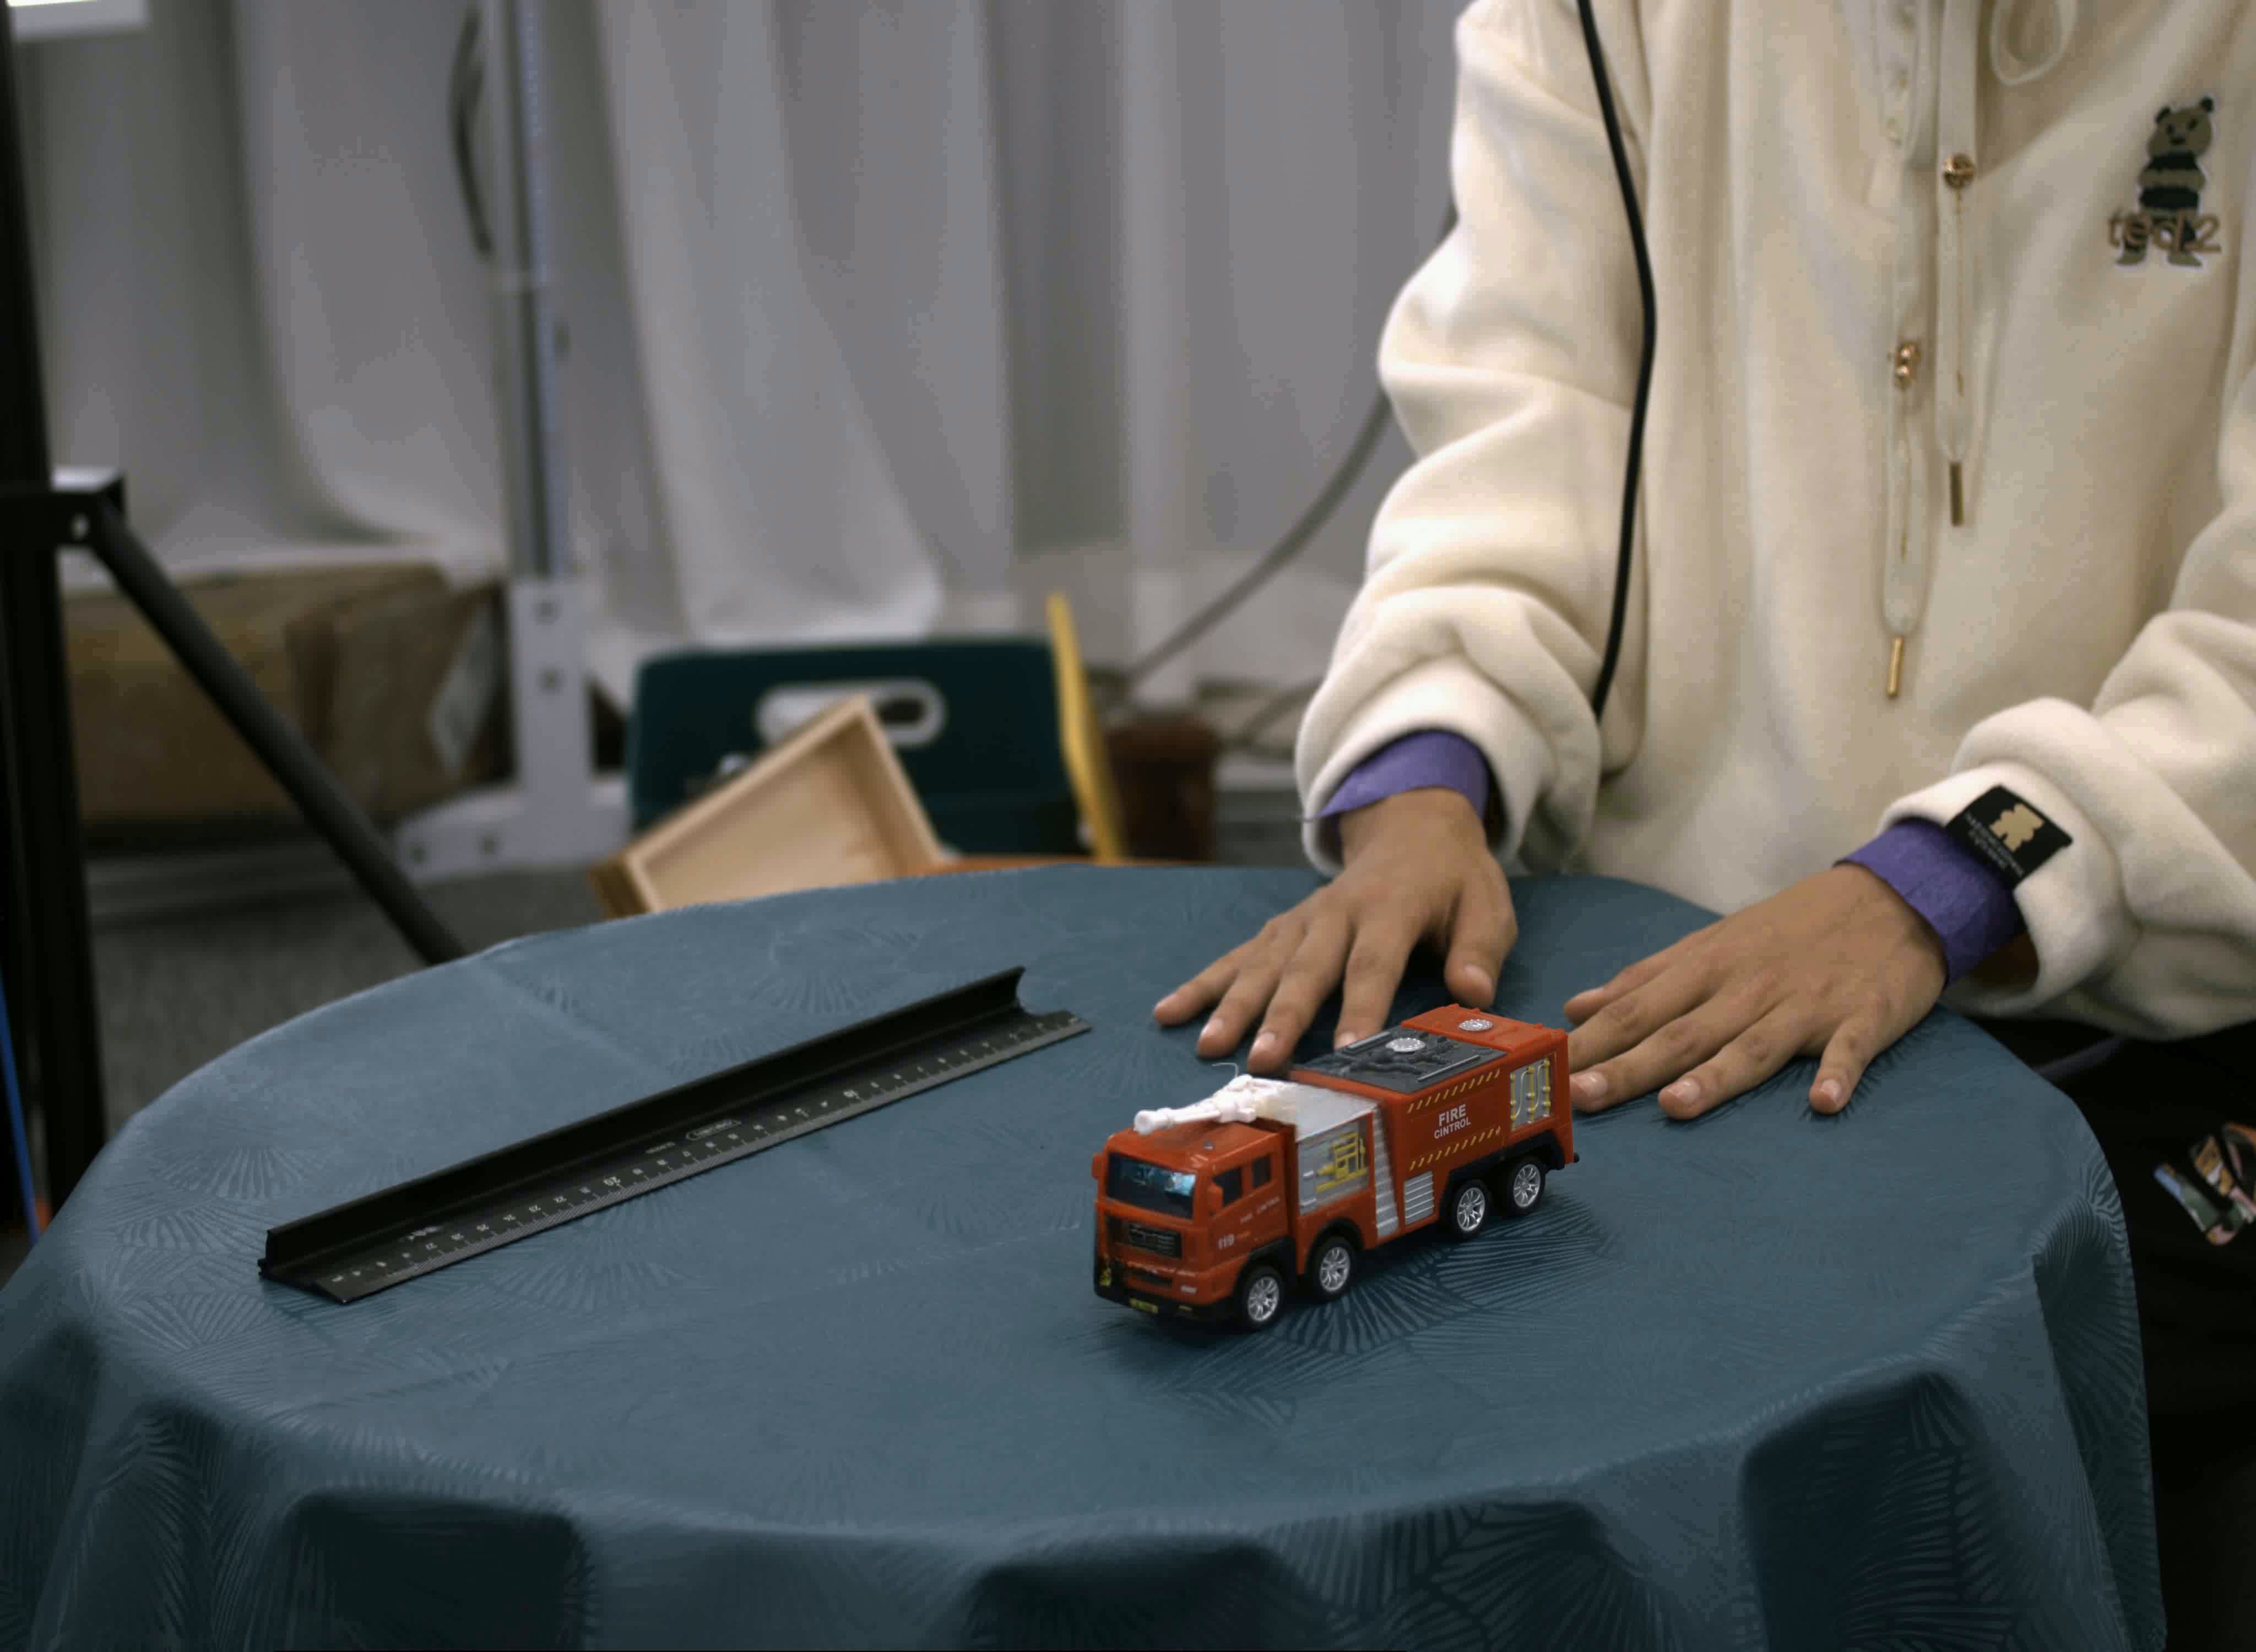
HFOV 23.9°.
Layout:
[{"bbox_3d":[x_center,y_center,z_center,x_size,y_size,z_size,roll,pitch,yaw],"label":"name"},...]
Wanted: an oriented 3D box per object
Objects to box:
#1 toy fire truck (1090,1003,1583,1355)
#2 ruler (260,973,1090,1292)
[{"bbox_3d":[0.059,0.096,1.485,0.055,0.070,0.164,12,20,43],"label":"toy fire truck"},{"bbox_3d":[-0.130,0.090,1.614,0.040,0.017,0.305,17,24,42],"label":"ruler"}]
